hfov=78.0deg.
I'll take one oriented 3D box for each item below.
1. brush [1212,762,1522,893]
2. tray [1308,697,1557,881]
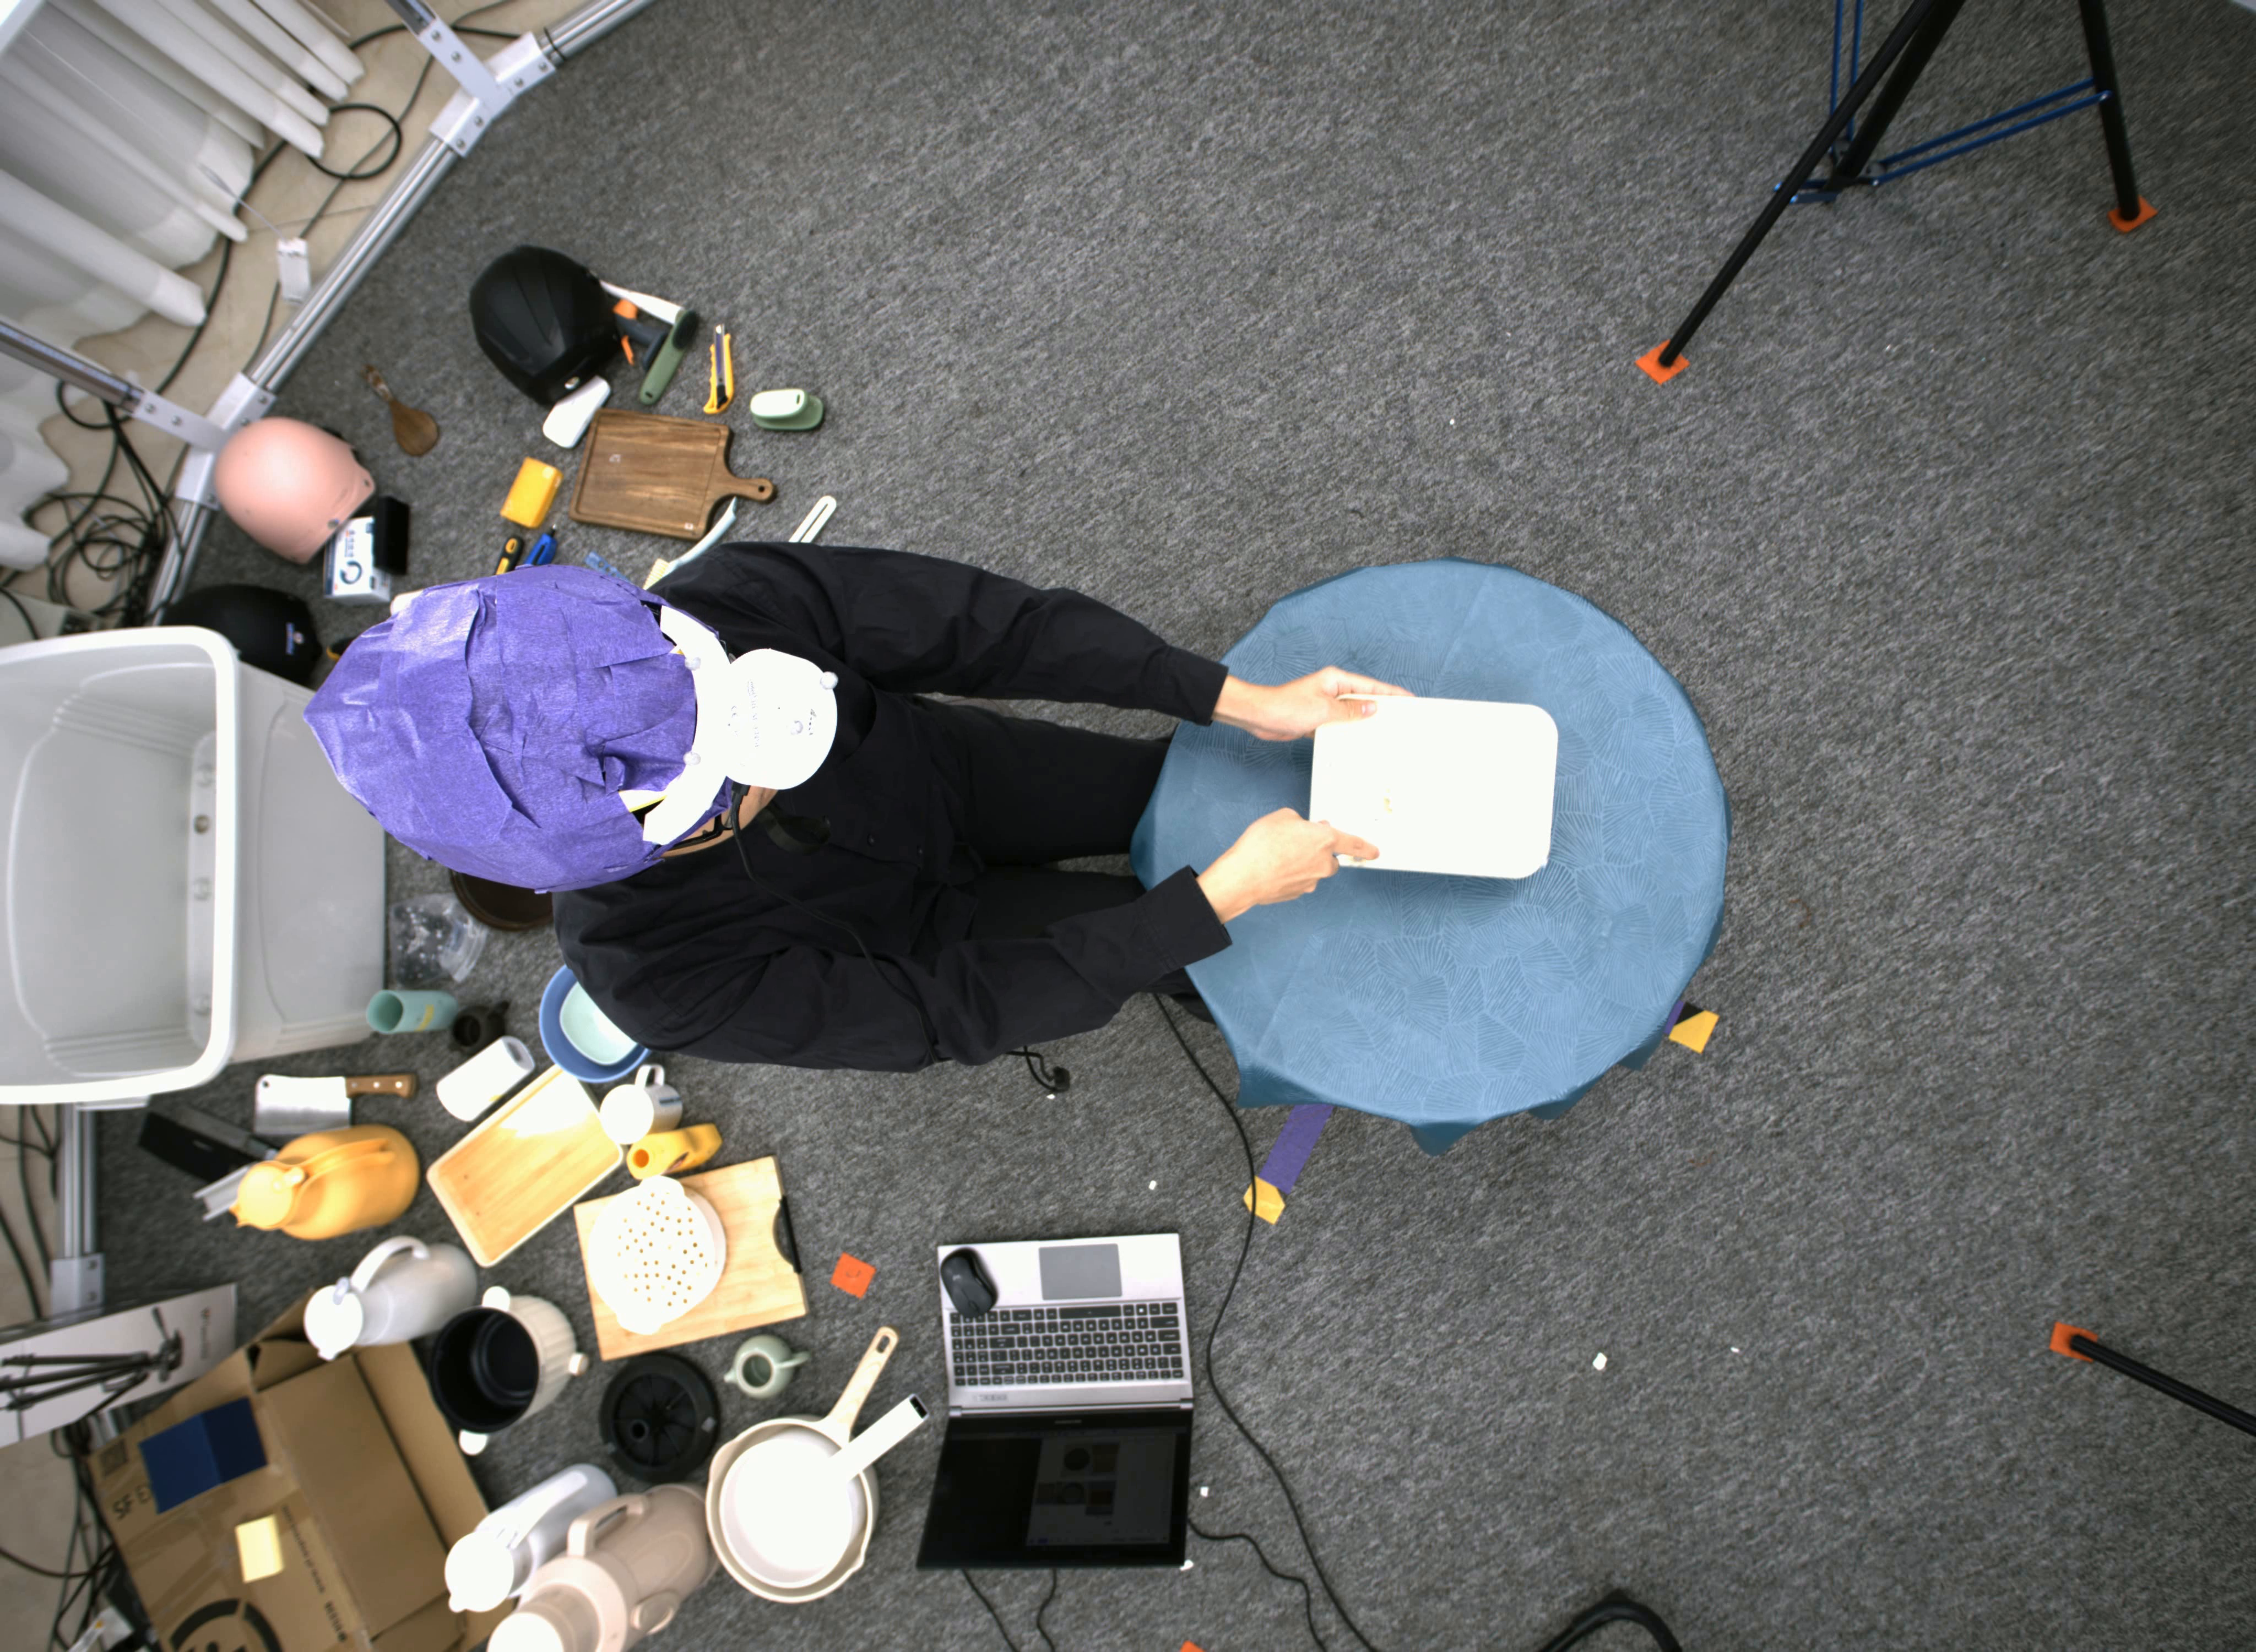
[{"bbox_3d":[0.225,0.000,1.333,0.324,0.086,0.081,-18,56,-8],"label":"brush"},{"bbox_3d":[0.300,-0.038,1.362,0.240,0.017,0.172,4,95,3],"label":"tray"}]
